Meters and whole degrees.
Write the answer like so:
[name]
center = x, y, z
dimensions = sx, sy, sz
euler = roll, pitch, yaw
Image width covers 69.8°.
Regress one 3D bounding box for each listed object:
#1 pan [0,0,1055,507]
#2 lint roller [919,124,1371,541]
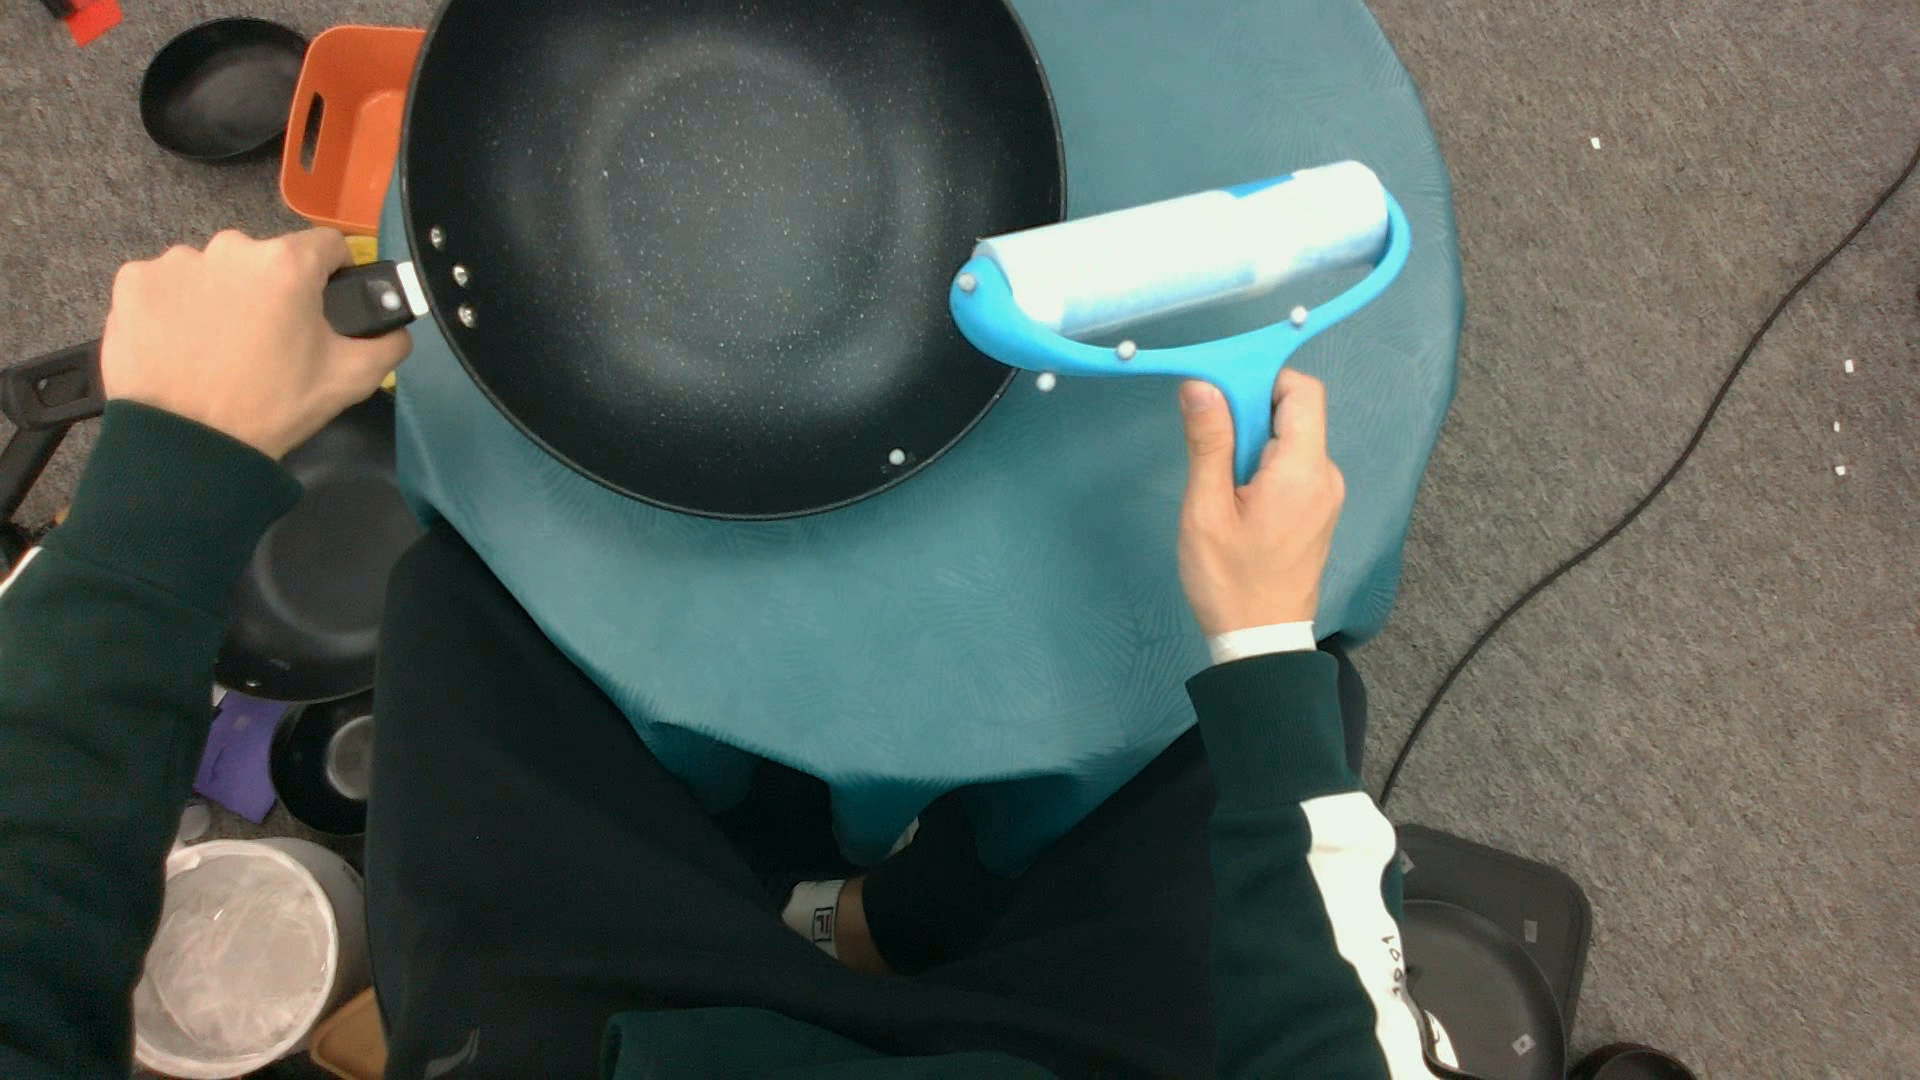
[pan]
center = -0.186, -0.145, 0.657
dimensions = 0.478, 0.111, 0.309
euler = -20, 106, -12
[lint roller]
center = 0.108, -0.088, 0.639
dimensions = 0.229, 0.068, 0.180
euler = -23, 94, -21
